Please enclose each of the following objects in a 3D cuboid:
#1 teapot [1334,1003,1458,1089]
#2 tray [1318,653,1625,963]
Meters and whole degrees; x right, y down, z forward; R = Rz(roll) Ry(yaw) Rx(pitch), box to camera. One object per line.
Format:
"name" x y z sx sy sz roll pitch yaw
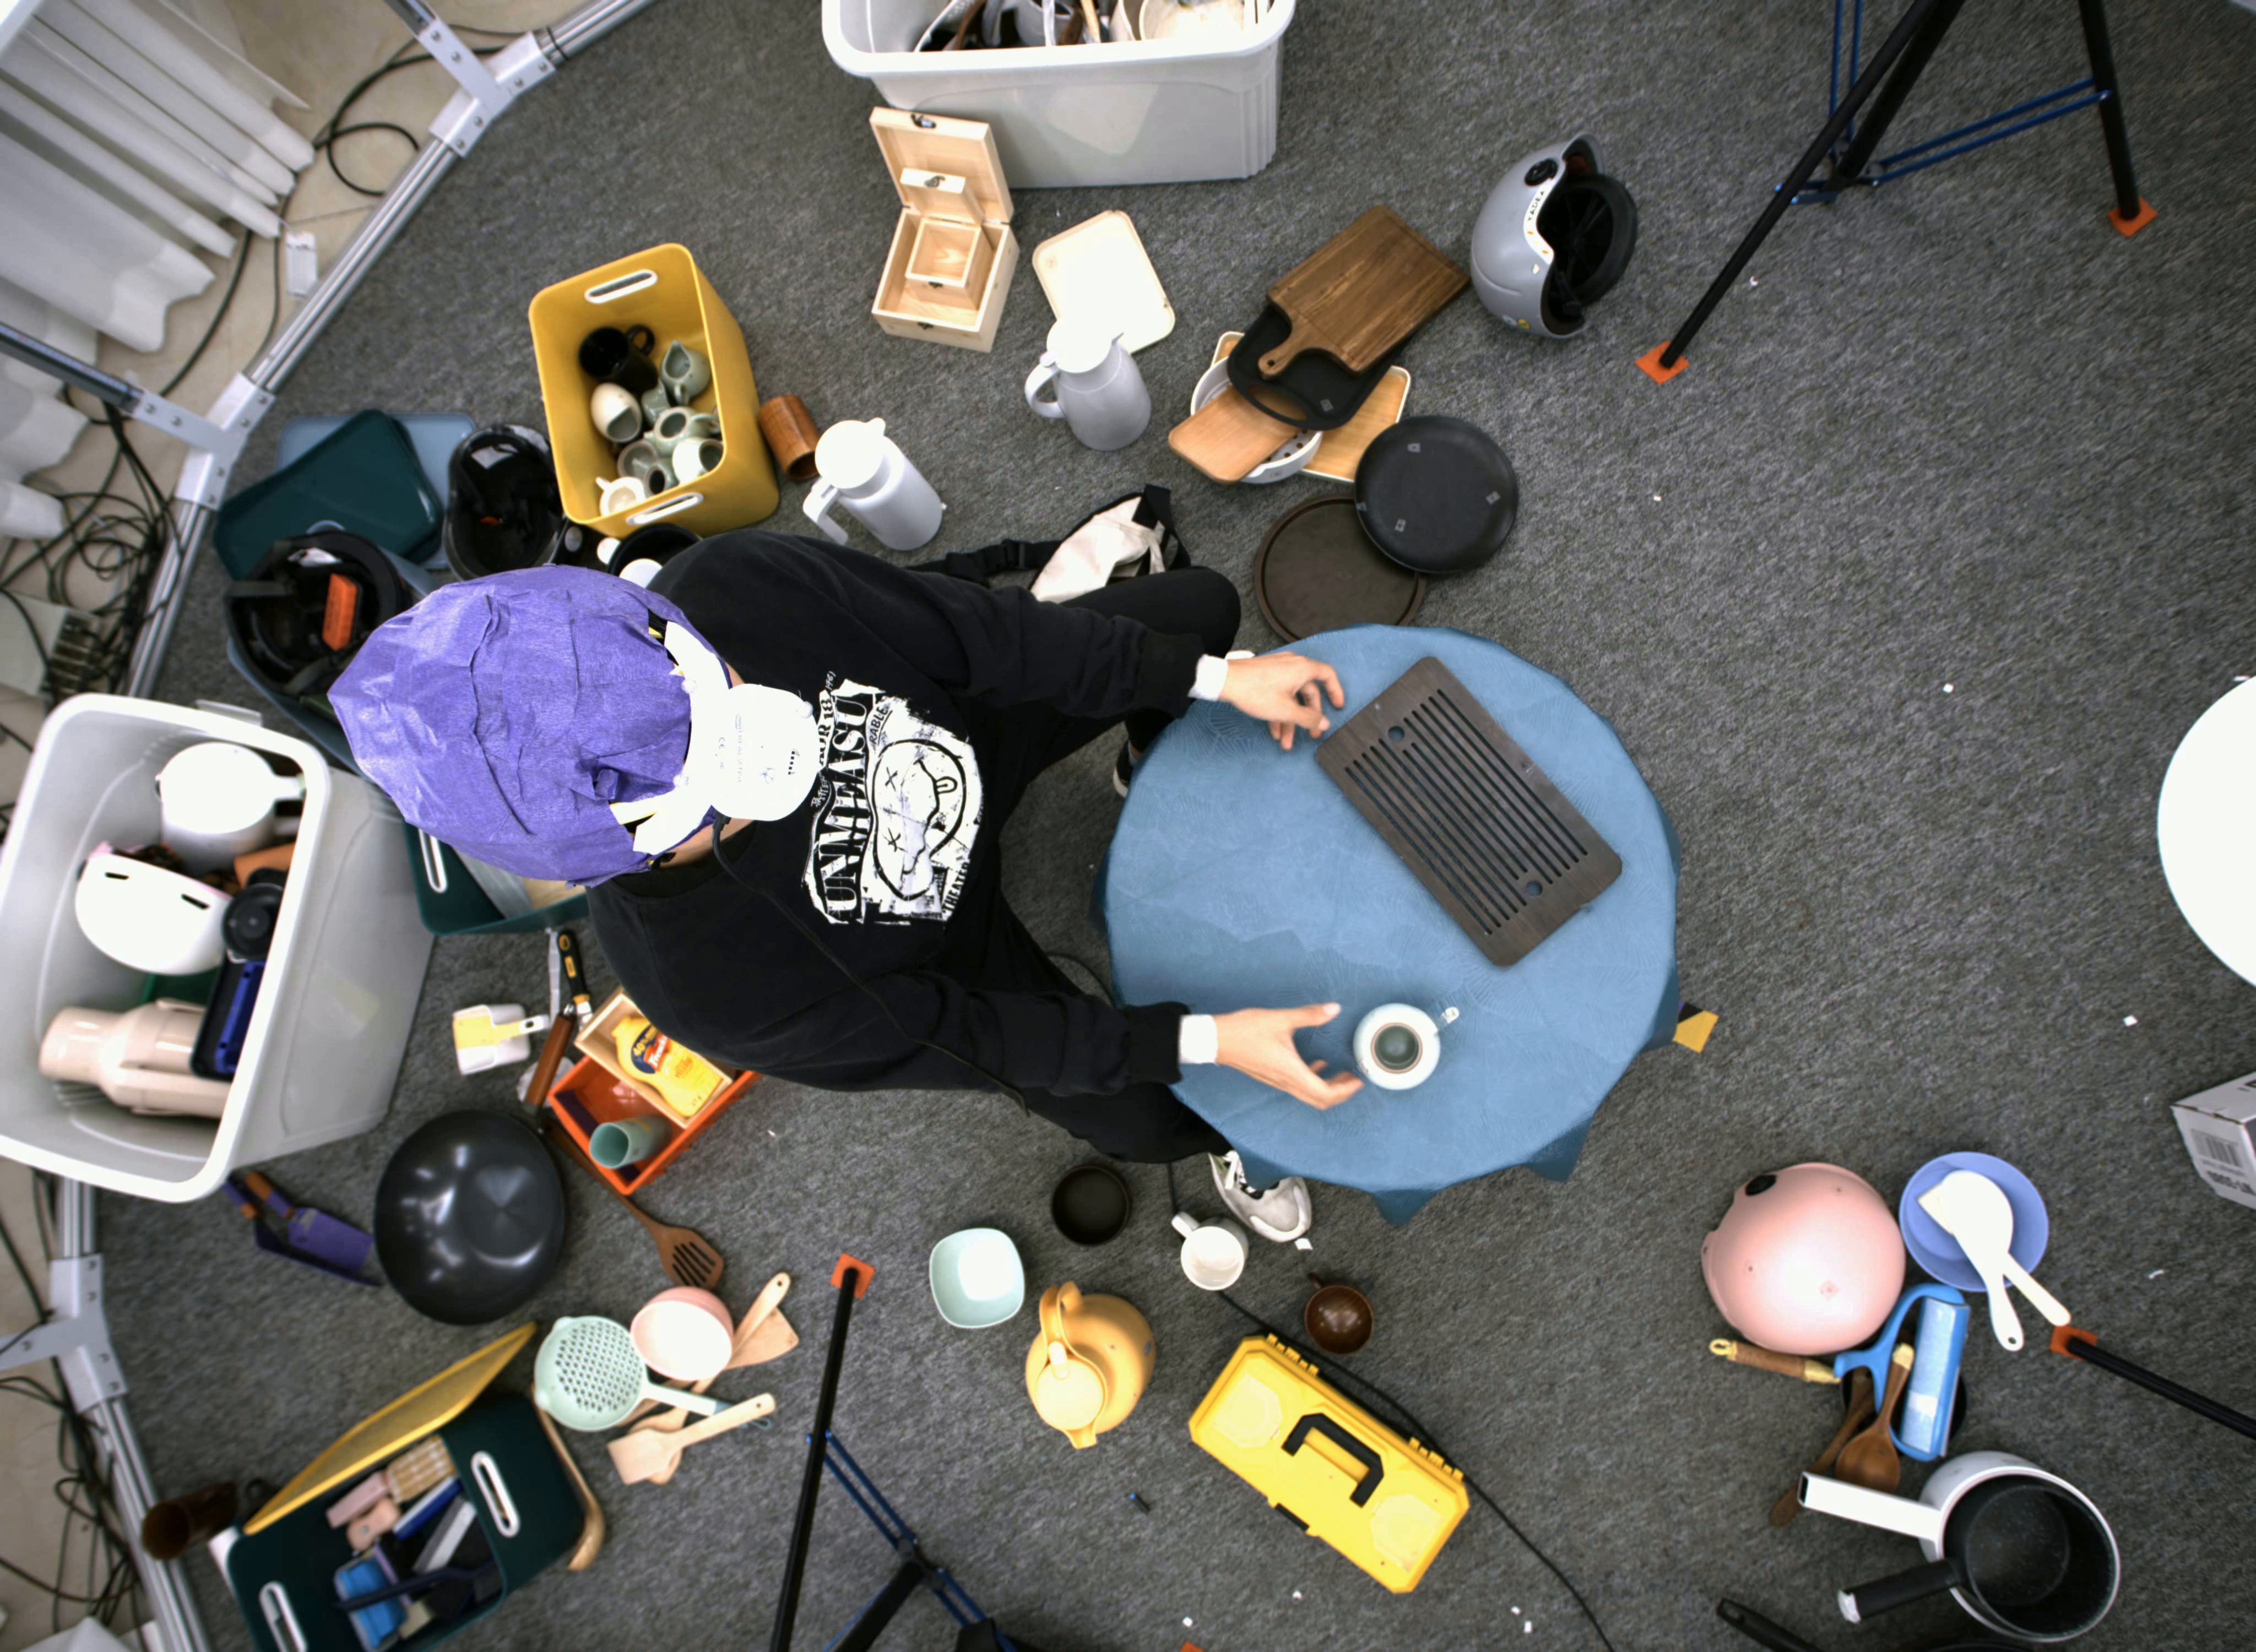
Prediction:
"teapot" 0.274 0.223 1.416 0.144 0.075 0.088 -31 81 6
"tray" 0.357 -0.022 1.440 0.171 0.018 0.304 -41 81 7
